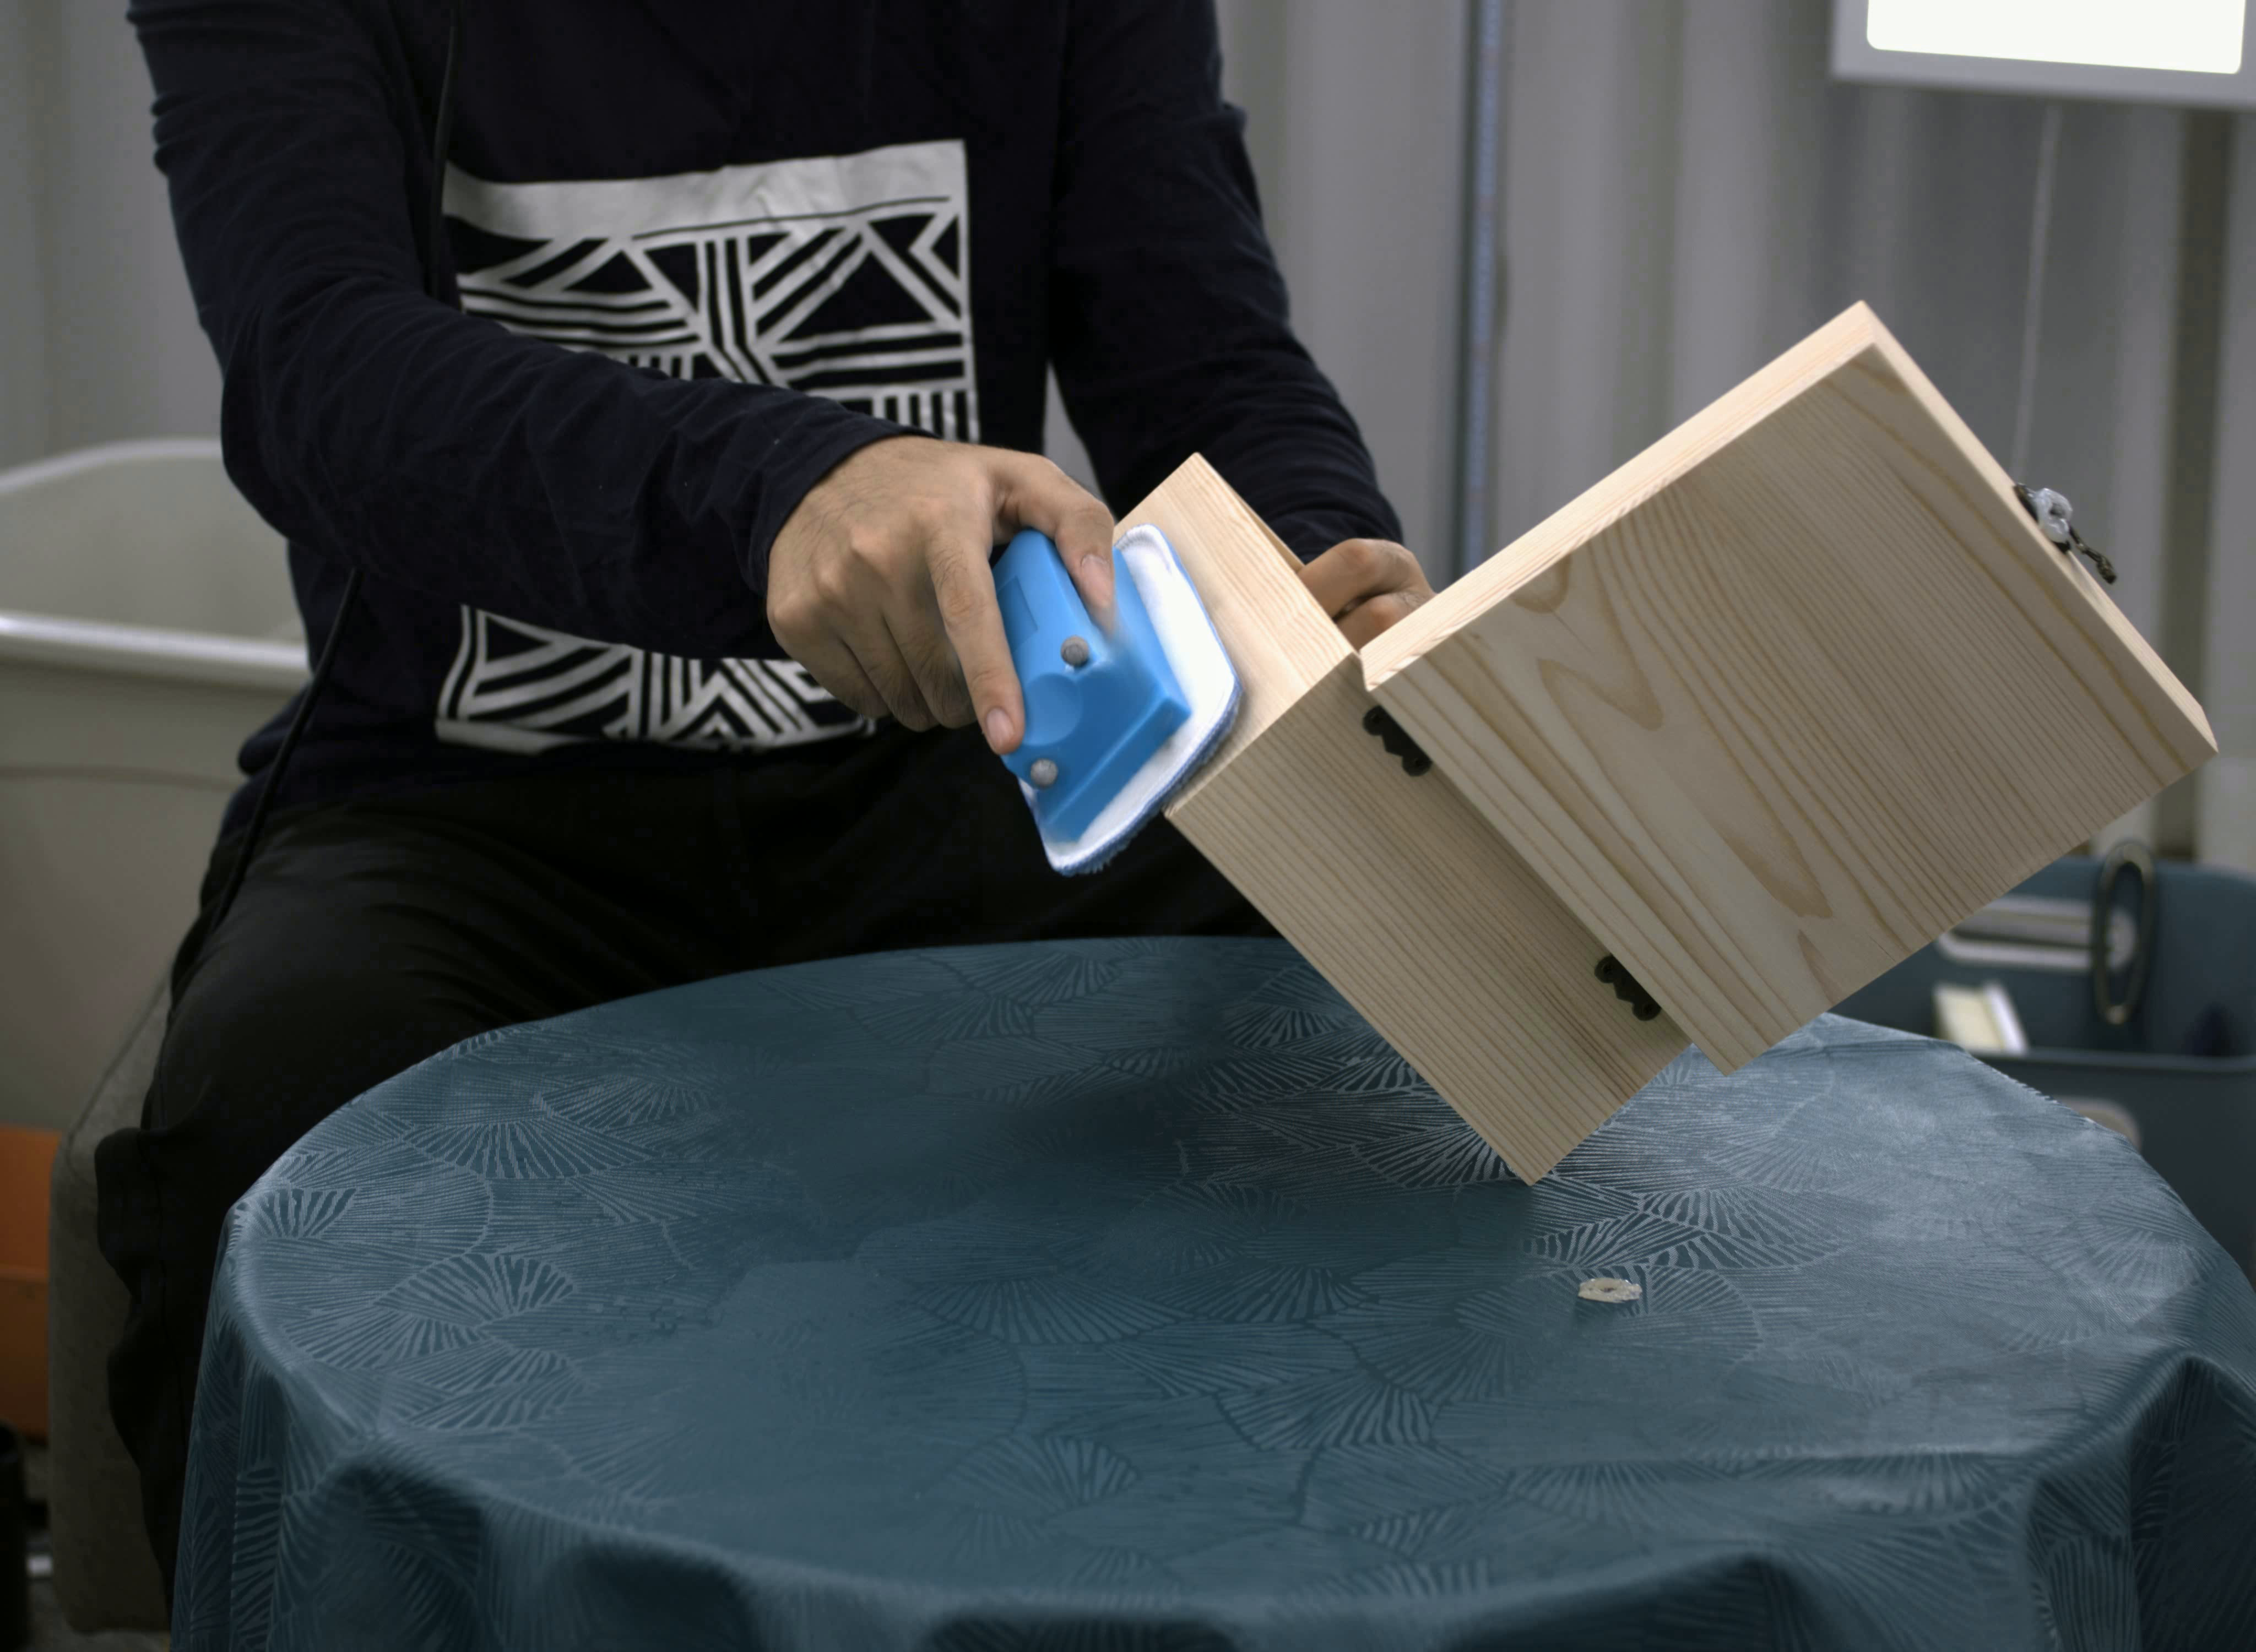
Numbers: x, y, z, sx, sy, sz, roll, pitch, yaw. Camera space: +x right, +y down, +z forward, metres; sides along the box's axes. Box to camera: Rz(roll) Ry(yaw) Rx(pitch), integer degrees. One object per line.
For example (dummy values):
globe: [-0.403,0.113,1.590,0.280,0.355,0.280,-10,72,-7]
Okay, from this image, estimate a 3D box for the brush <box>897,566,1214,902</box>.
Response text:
brush: [-0.030,-0.033,1.606,0.084,0.056,0.142,-41,30,1]

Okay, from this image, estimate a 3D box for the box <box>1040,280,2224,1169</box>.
box: [0.146,-0.056,1.630,0.253,0.184,0.262,-44,28,5]
